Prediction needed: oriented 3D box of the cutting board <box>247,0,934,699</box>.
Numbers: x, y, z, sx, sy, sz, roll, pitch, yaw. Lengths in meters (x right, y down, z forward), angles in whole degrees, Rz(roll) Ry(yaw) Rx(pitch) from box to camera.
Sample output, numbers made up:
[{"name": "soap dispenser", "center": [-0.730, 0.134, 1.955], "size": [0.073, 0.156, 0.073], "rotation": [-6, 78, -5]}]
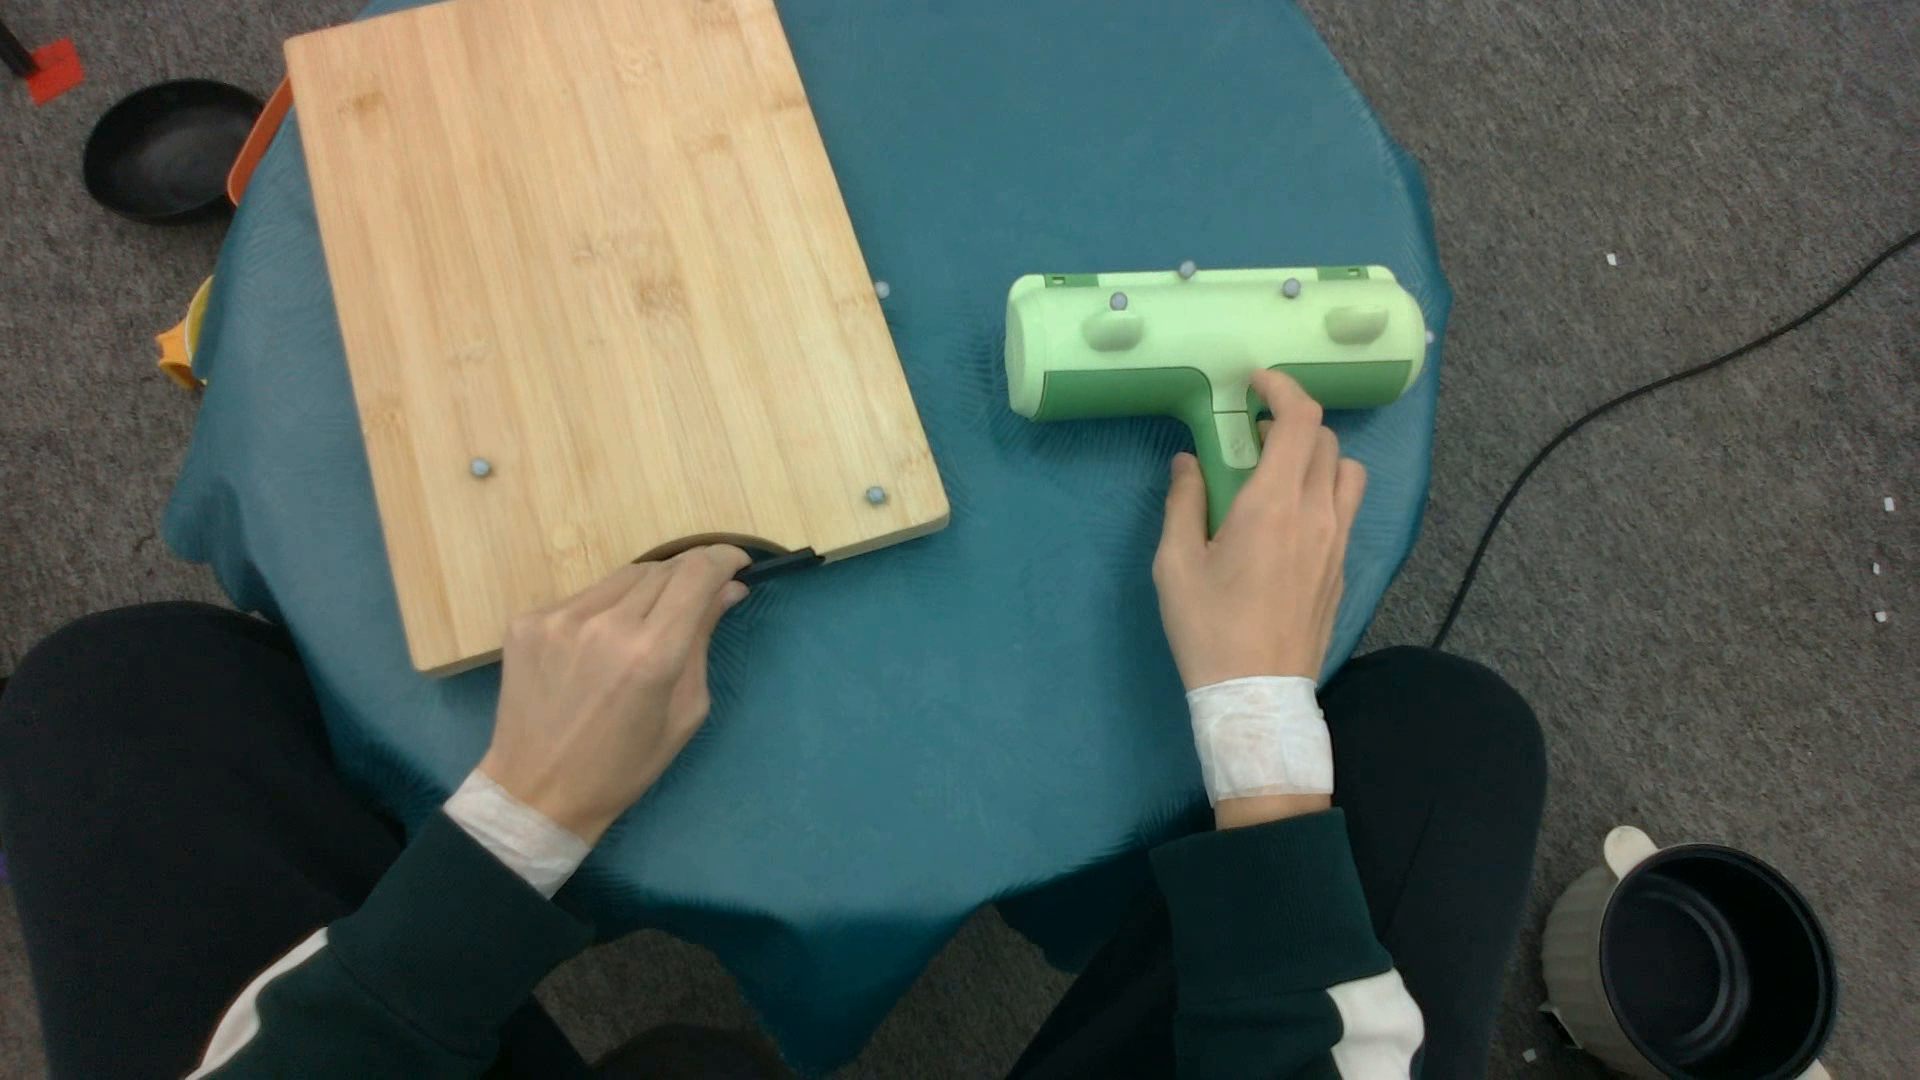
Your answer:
[{"name": "cutting board", "center": [-0.182, -0.125, 0.657], "size": [0.251, 0.023, 0.349], "rotation": [-19, 73, -10]}]

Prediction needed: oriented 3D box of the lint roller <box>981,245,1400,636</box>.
[{"name": "lint roller", "center": [0.118, -0.054, 0.626], "size": [0.199, 0.082, 0.184], "rotation": [-4, 66, -11]}]
